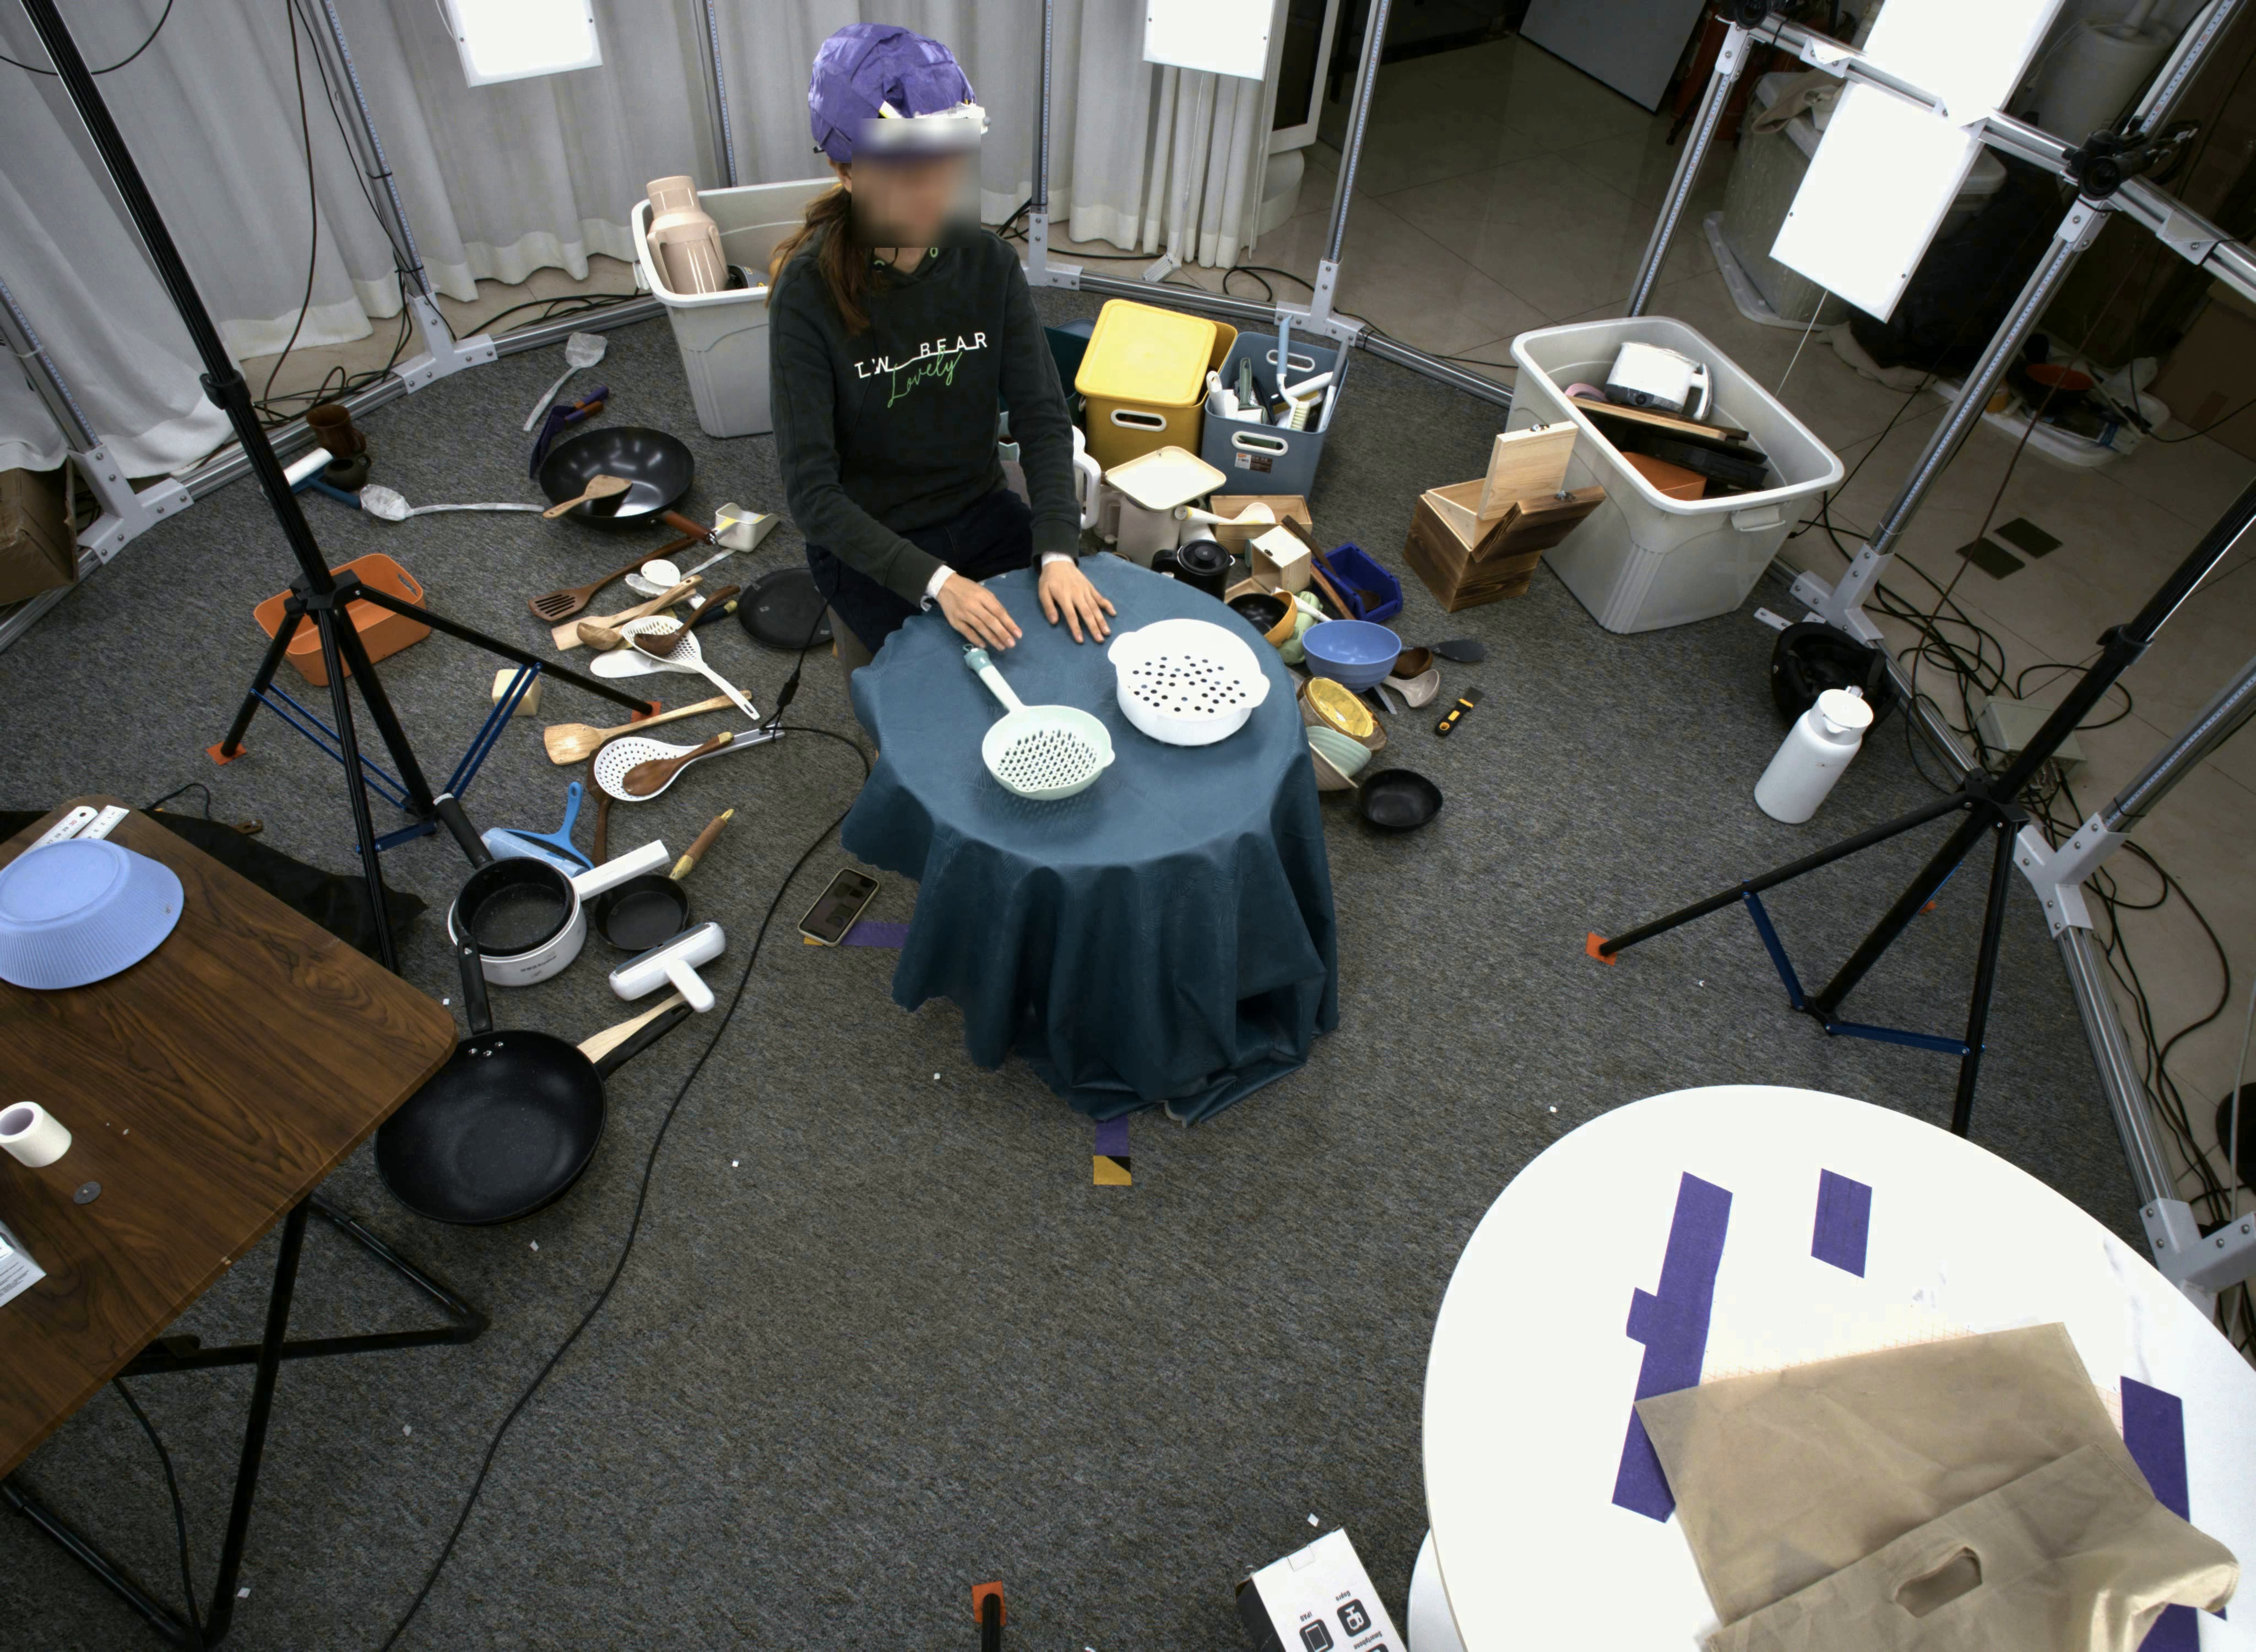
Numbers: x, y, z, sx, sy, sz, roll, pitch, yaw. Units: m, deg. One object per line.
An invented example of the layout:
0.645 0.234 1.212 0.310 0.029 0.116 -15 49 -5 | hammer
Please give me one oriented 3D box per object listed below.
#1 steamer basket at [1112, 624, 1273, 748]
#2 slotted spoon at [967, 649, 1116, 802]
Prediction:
0.088 -0.198 1.820 0.231 0.067 0.206 19 50 12 | steamer basket
-0.150 -0.155 1.767 0.169 0.073 0.367 -19 53 -19 | slotted spoon
